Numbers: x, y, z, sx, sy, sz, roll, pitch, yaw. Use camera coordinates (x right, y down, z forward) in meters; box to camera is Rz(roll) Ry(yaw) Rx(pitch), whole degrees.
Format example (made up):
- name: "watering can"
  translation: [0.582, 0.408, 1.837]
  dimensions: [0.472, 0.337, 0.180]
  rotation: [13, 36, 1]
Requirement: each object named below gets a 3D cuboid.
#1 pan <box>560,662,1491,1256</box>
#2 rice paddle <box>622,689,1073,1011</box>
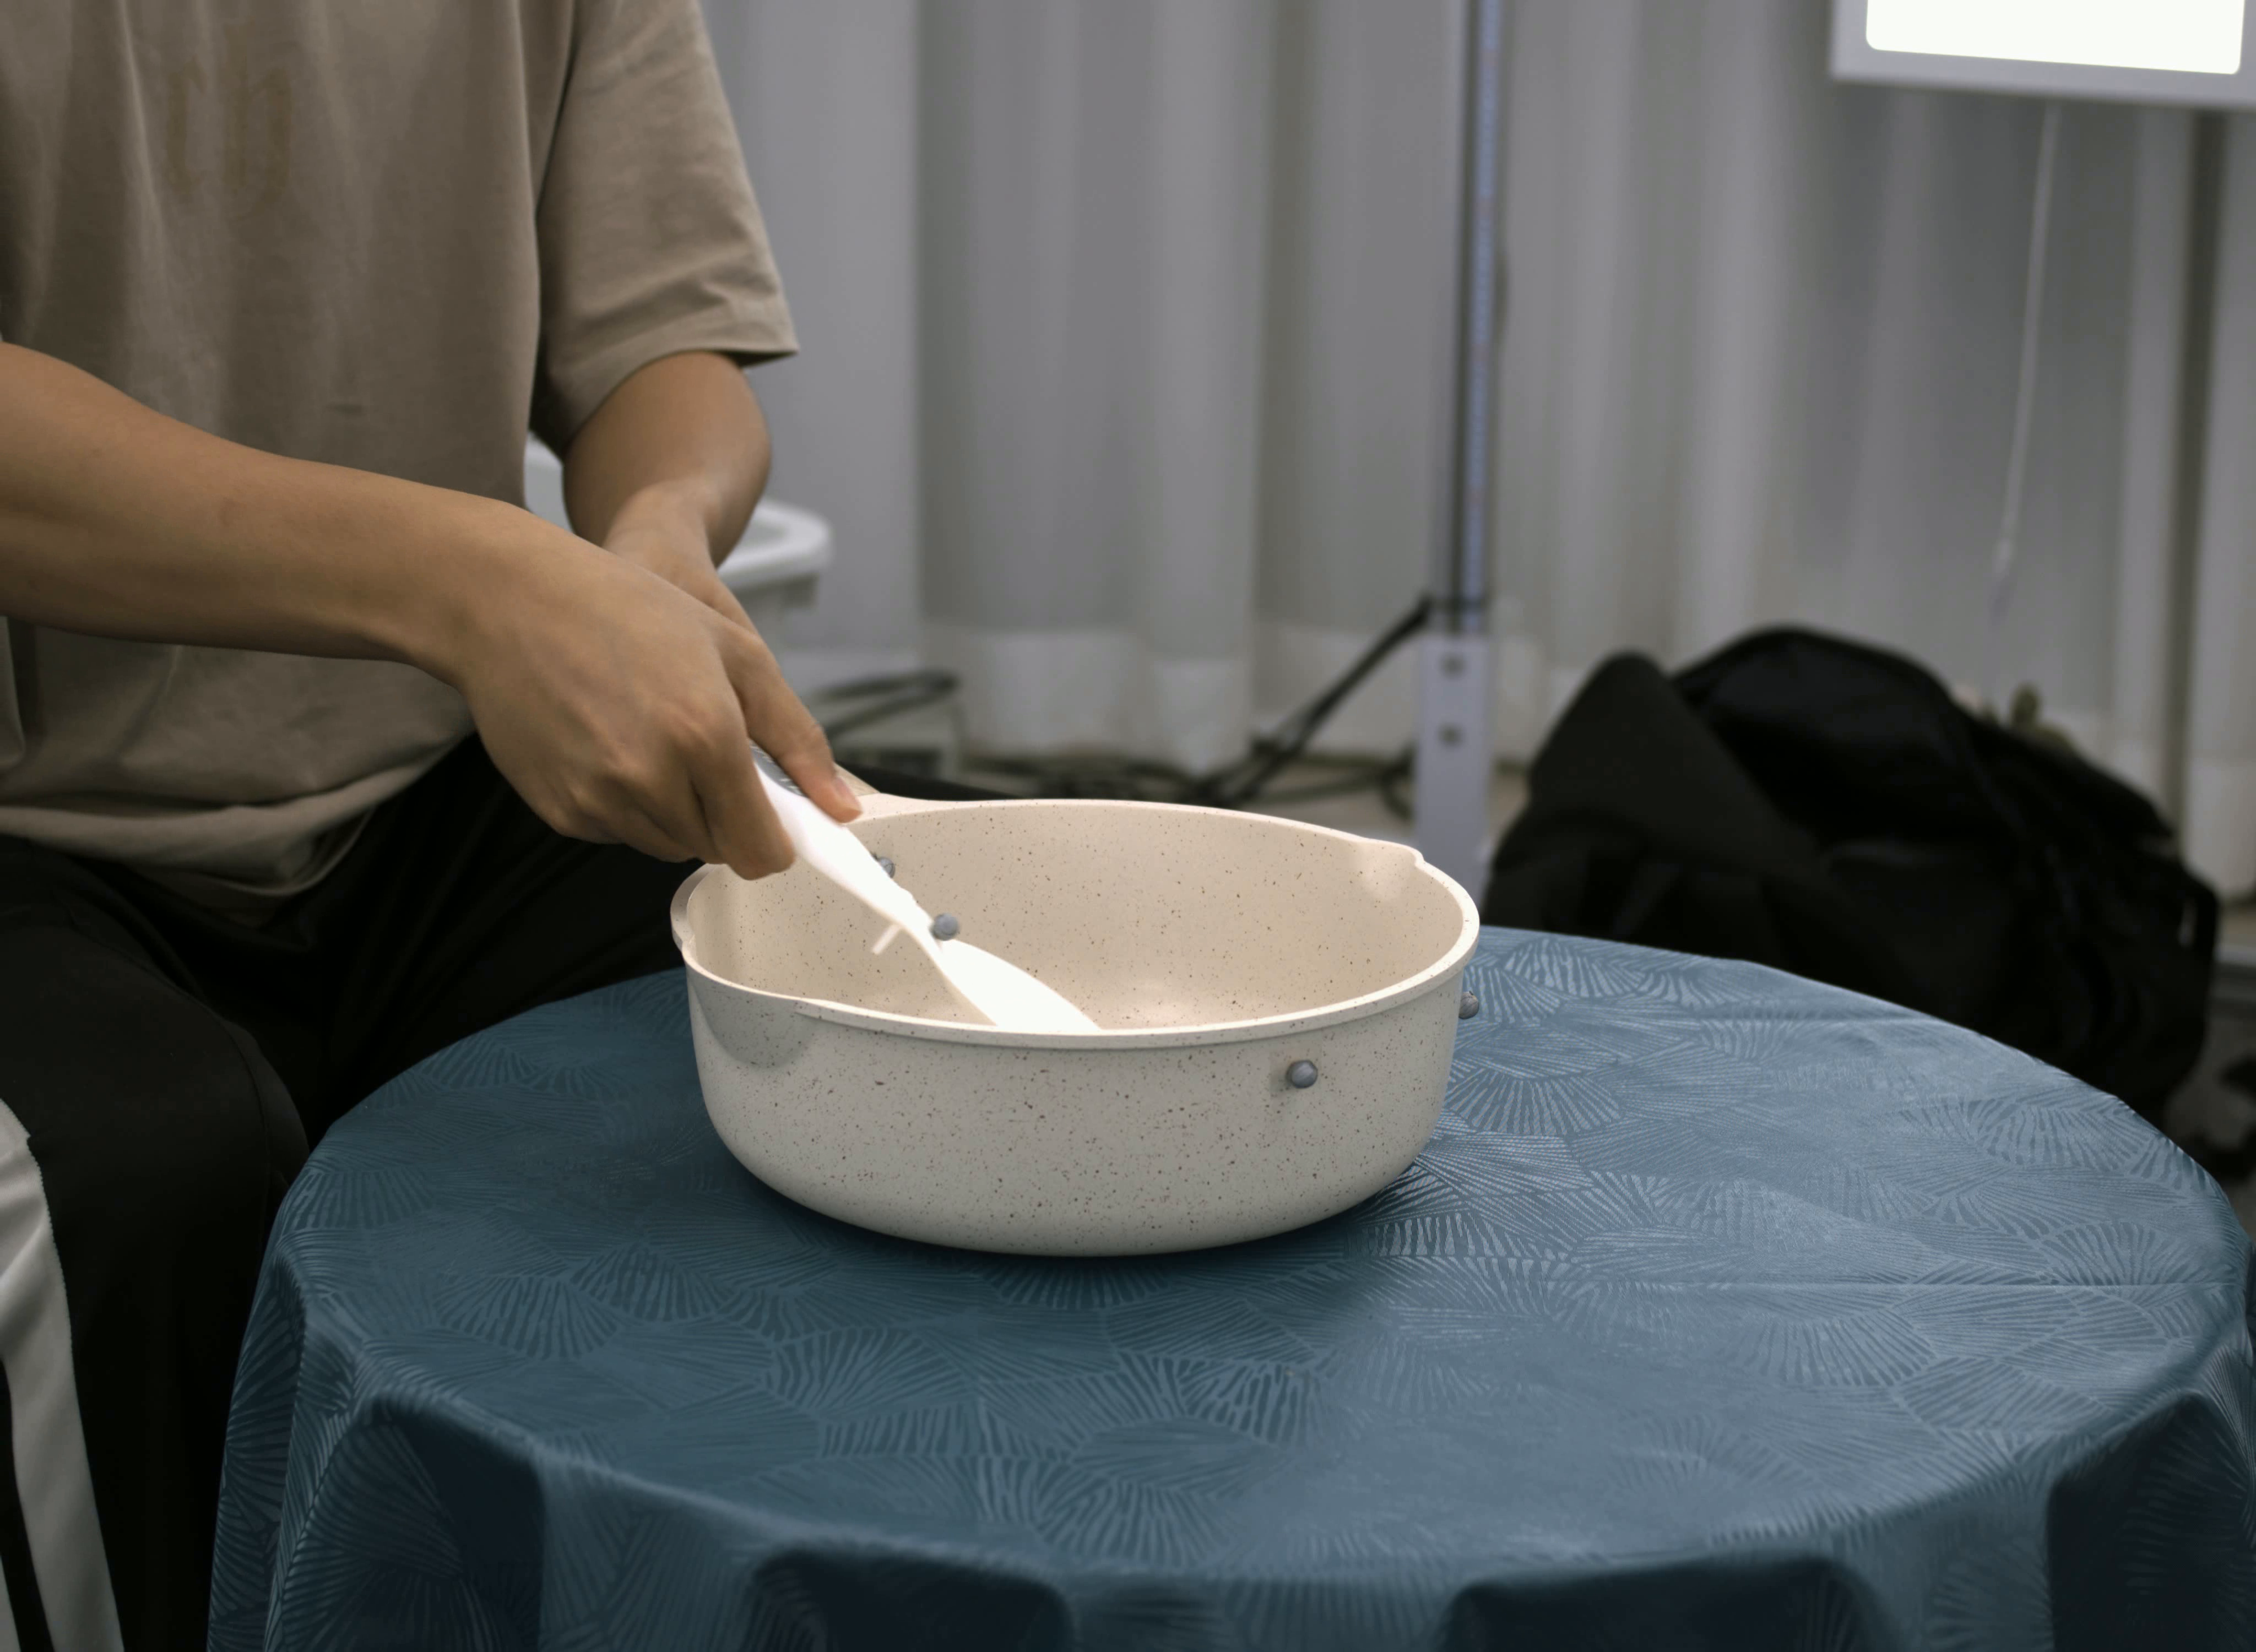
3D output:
- name: "pan"
  translation: [-0.064, 0.037, 1.715]
  dimensions: [0.264, 0.103, 0.429]
  rotation: [-13, 20, -33]
- name: "rice paddle"
  translation: [-0.068, 0.030, 1.648]
  dimensions: [0.206, 0.029, 0.068]
  rotation: [38, 14, -10]
